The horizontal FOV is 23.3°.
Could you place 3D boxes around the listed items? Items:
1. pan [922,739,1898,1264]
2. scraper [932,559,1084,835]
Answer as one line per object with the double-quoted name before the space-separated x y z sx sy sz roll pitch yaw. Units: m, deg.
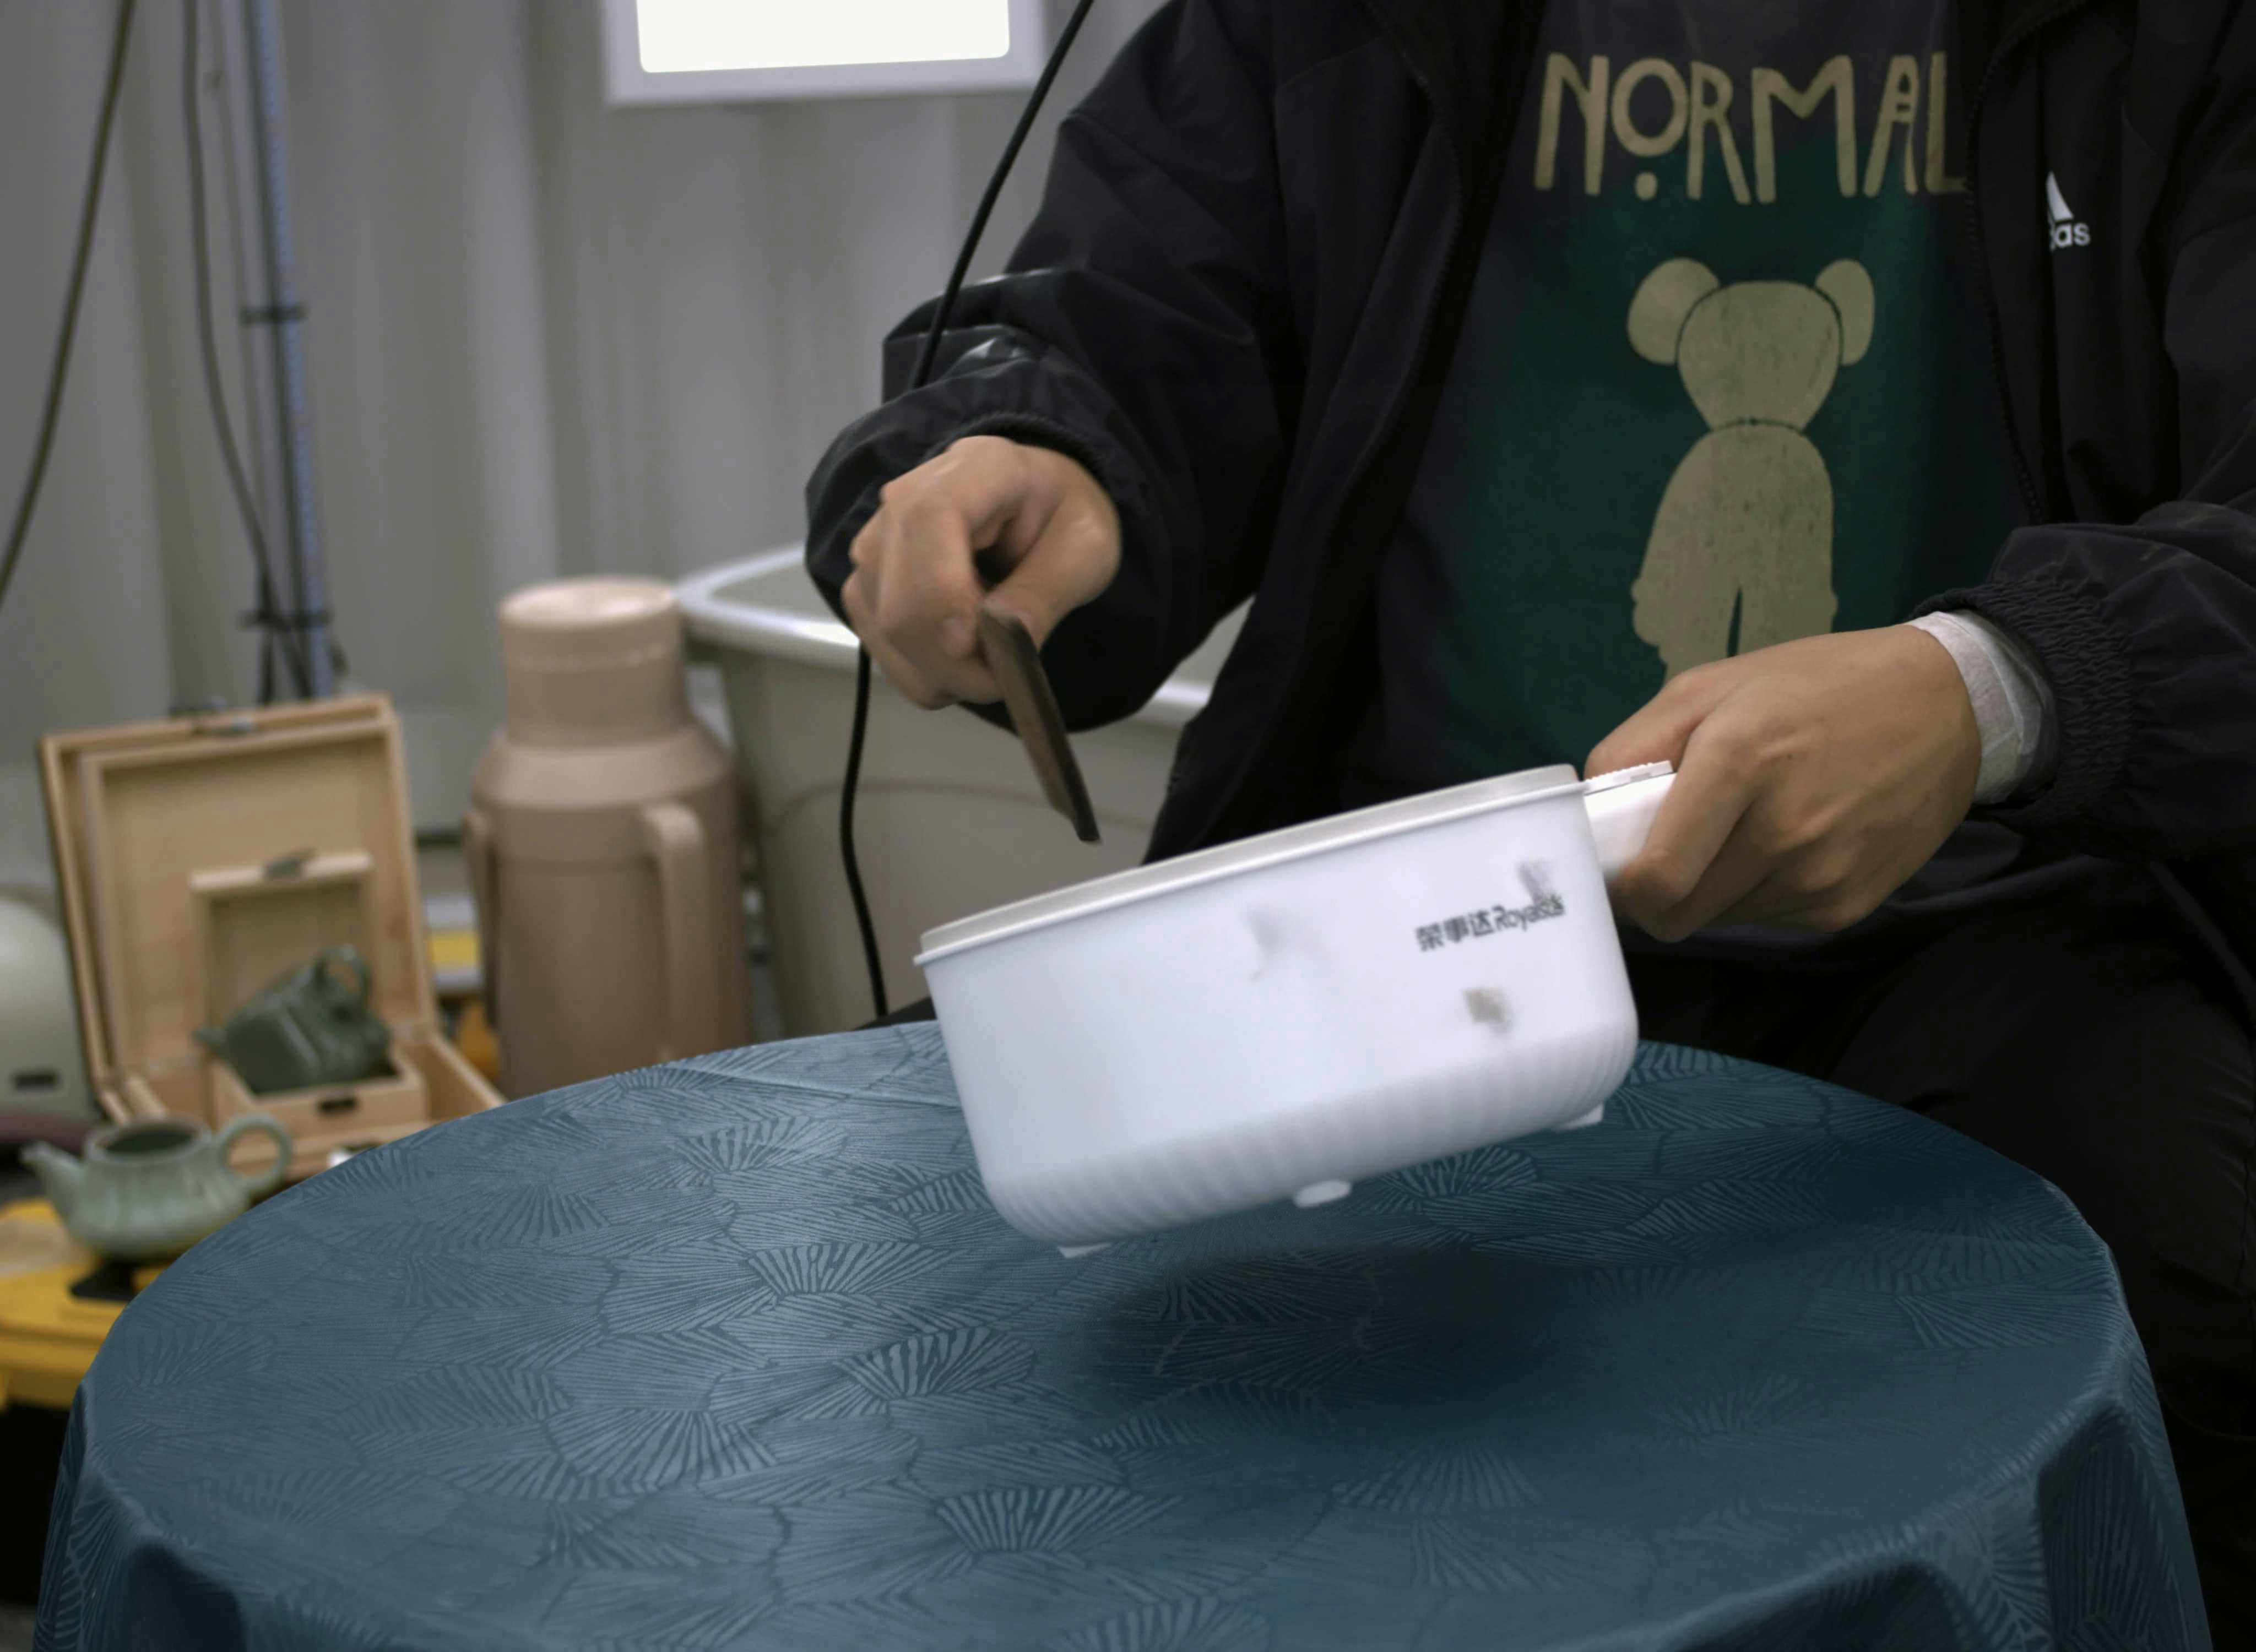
"pan" 0.105 0.047 1.617 0.353 0.102 0.201 -11 -6 -41
"scraper" -0.042 -0.052 1.682 0.011 0.075 0.213 -19 15 -5
